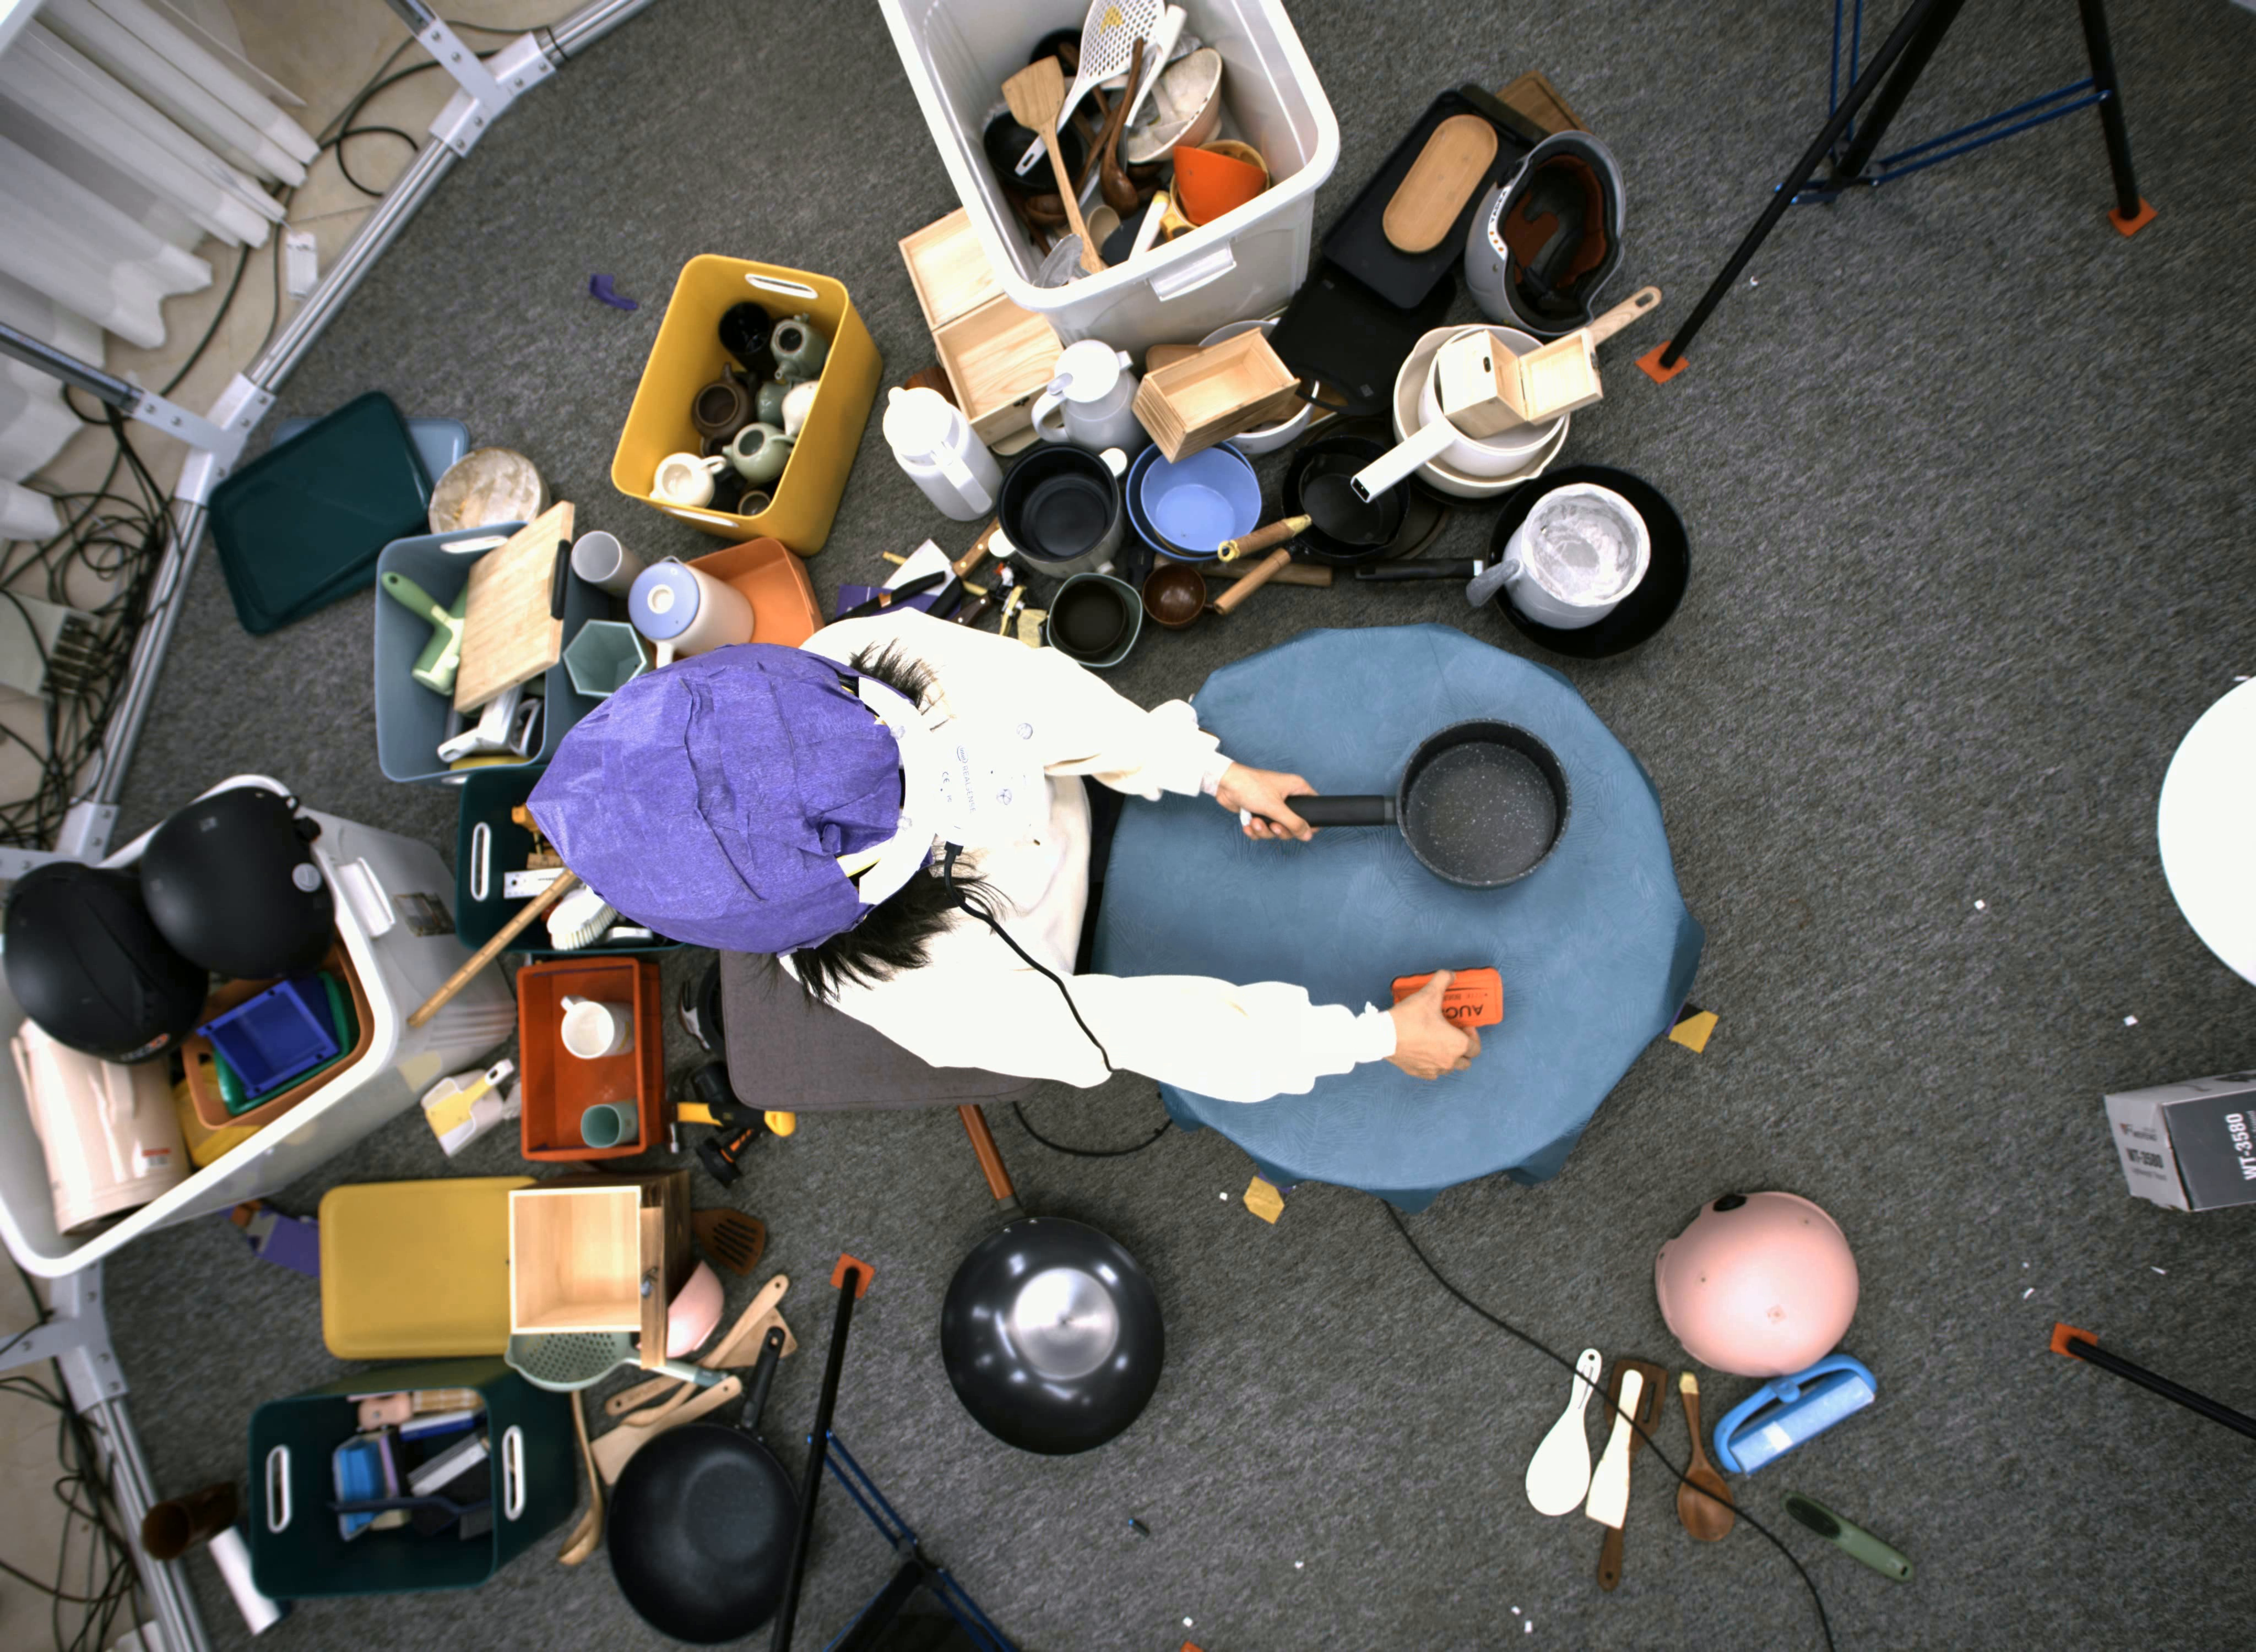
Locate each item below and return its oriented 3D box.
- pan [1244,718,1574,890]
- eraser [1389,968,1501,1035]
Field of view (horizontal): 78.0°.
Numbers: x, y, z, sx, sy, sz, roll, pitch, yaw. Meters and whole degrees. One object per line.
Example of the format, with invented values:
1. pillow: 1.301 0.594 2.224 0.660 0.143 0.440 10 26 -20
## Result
1. pan: 0.285 -0.019 1.418 0.330 0.087 0.170 0 82 11
2. eraser: 0.323 0.177 1.405 0.108 0.022 0.060 -7 111 8
